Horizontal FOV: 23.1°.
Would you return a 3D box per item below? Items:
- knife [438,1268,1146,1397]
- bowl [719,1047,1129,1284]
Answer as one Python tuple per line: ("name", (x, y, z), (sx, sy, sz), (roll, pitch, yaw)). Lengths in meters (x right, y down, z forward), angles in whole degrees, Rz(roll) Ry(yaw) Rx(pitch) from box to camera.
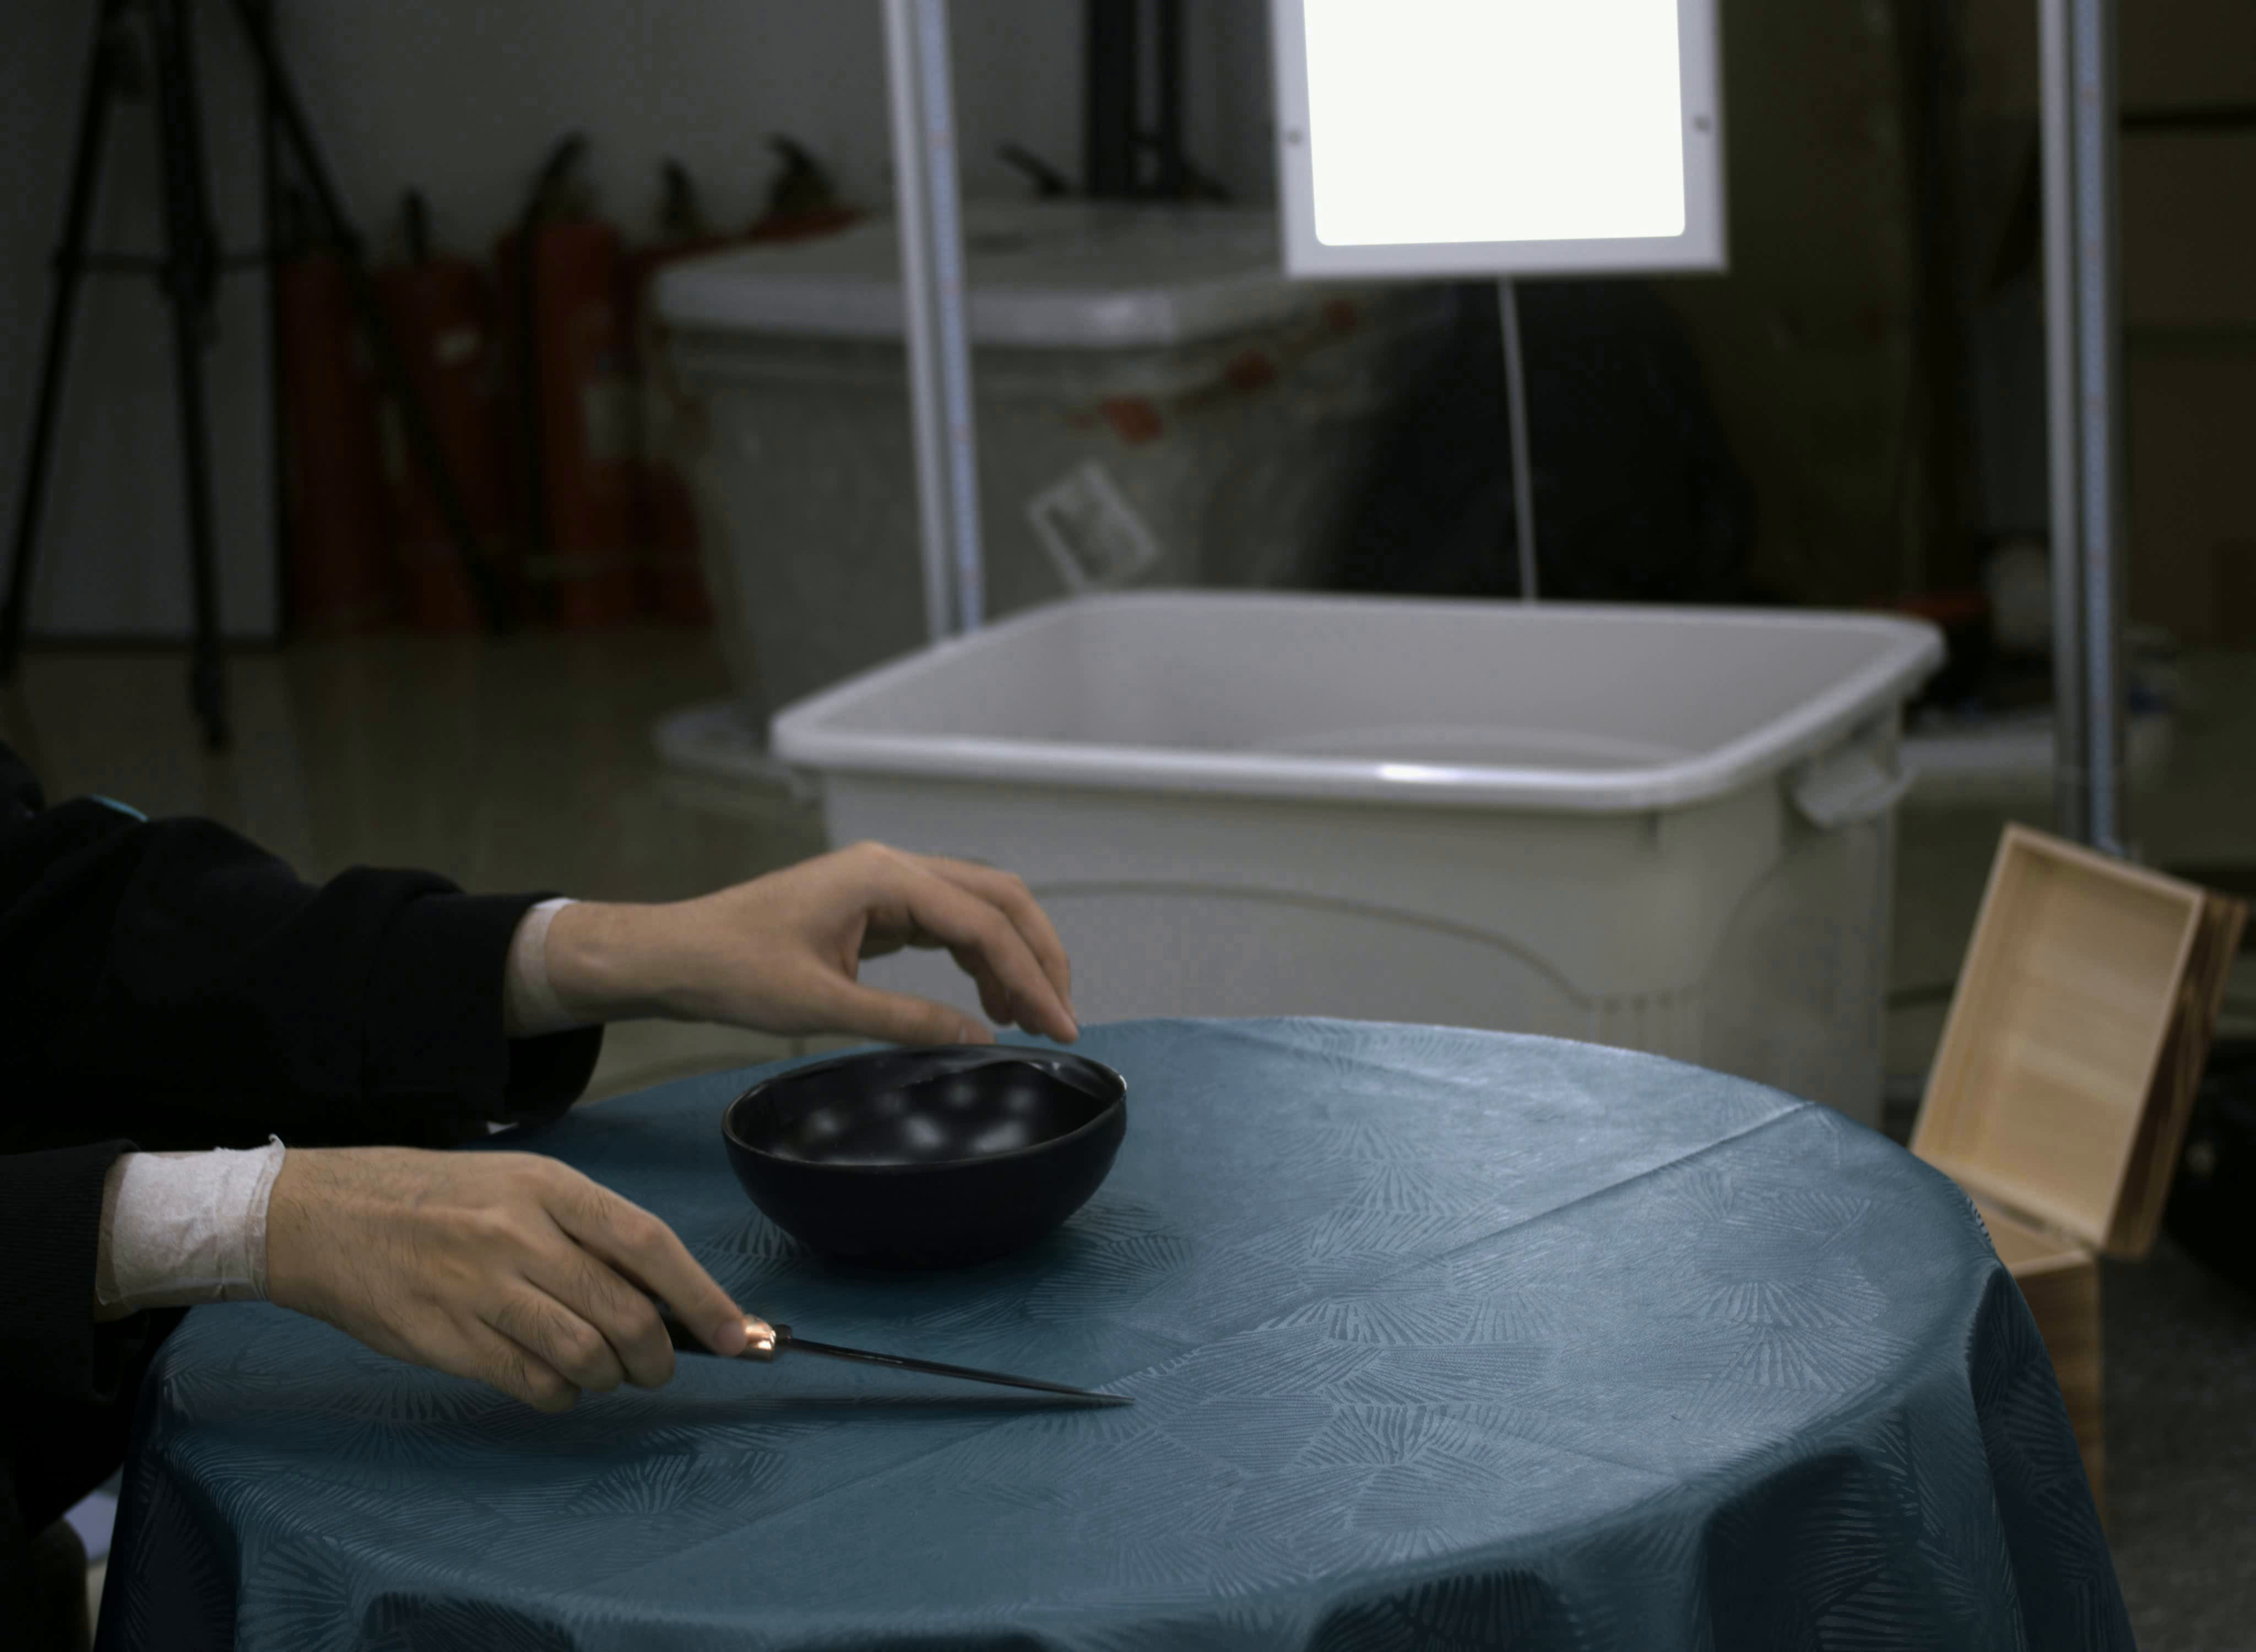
("knife", (-0.105, 0.160, 1.716), (0.227, 0.017, 0.026), (8, 1, 11))
("bowl", (-0.066, 0.119, 1.859), (0.140, 0.050, 0.140), (-9, 14, 1))
